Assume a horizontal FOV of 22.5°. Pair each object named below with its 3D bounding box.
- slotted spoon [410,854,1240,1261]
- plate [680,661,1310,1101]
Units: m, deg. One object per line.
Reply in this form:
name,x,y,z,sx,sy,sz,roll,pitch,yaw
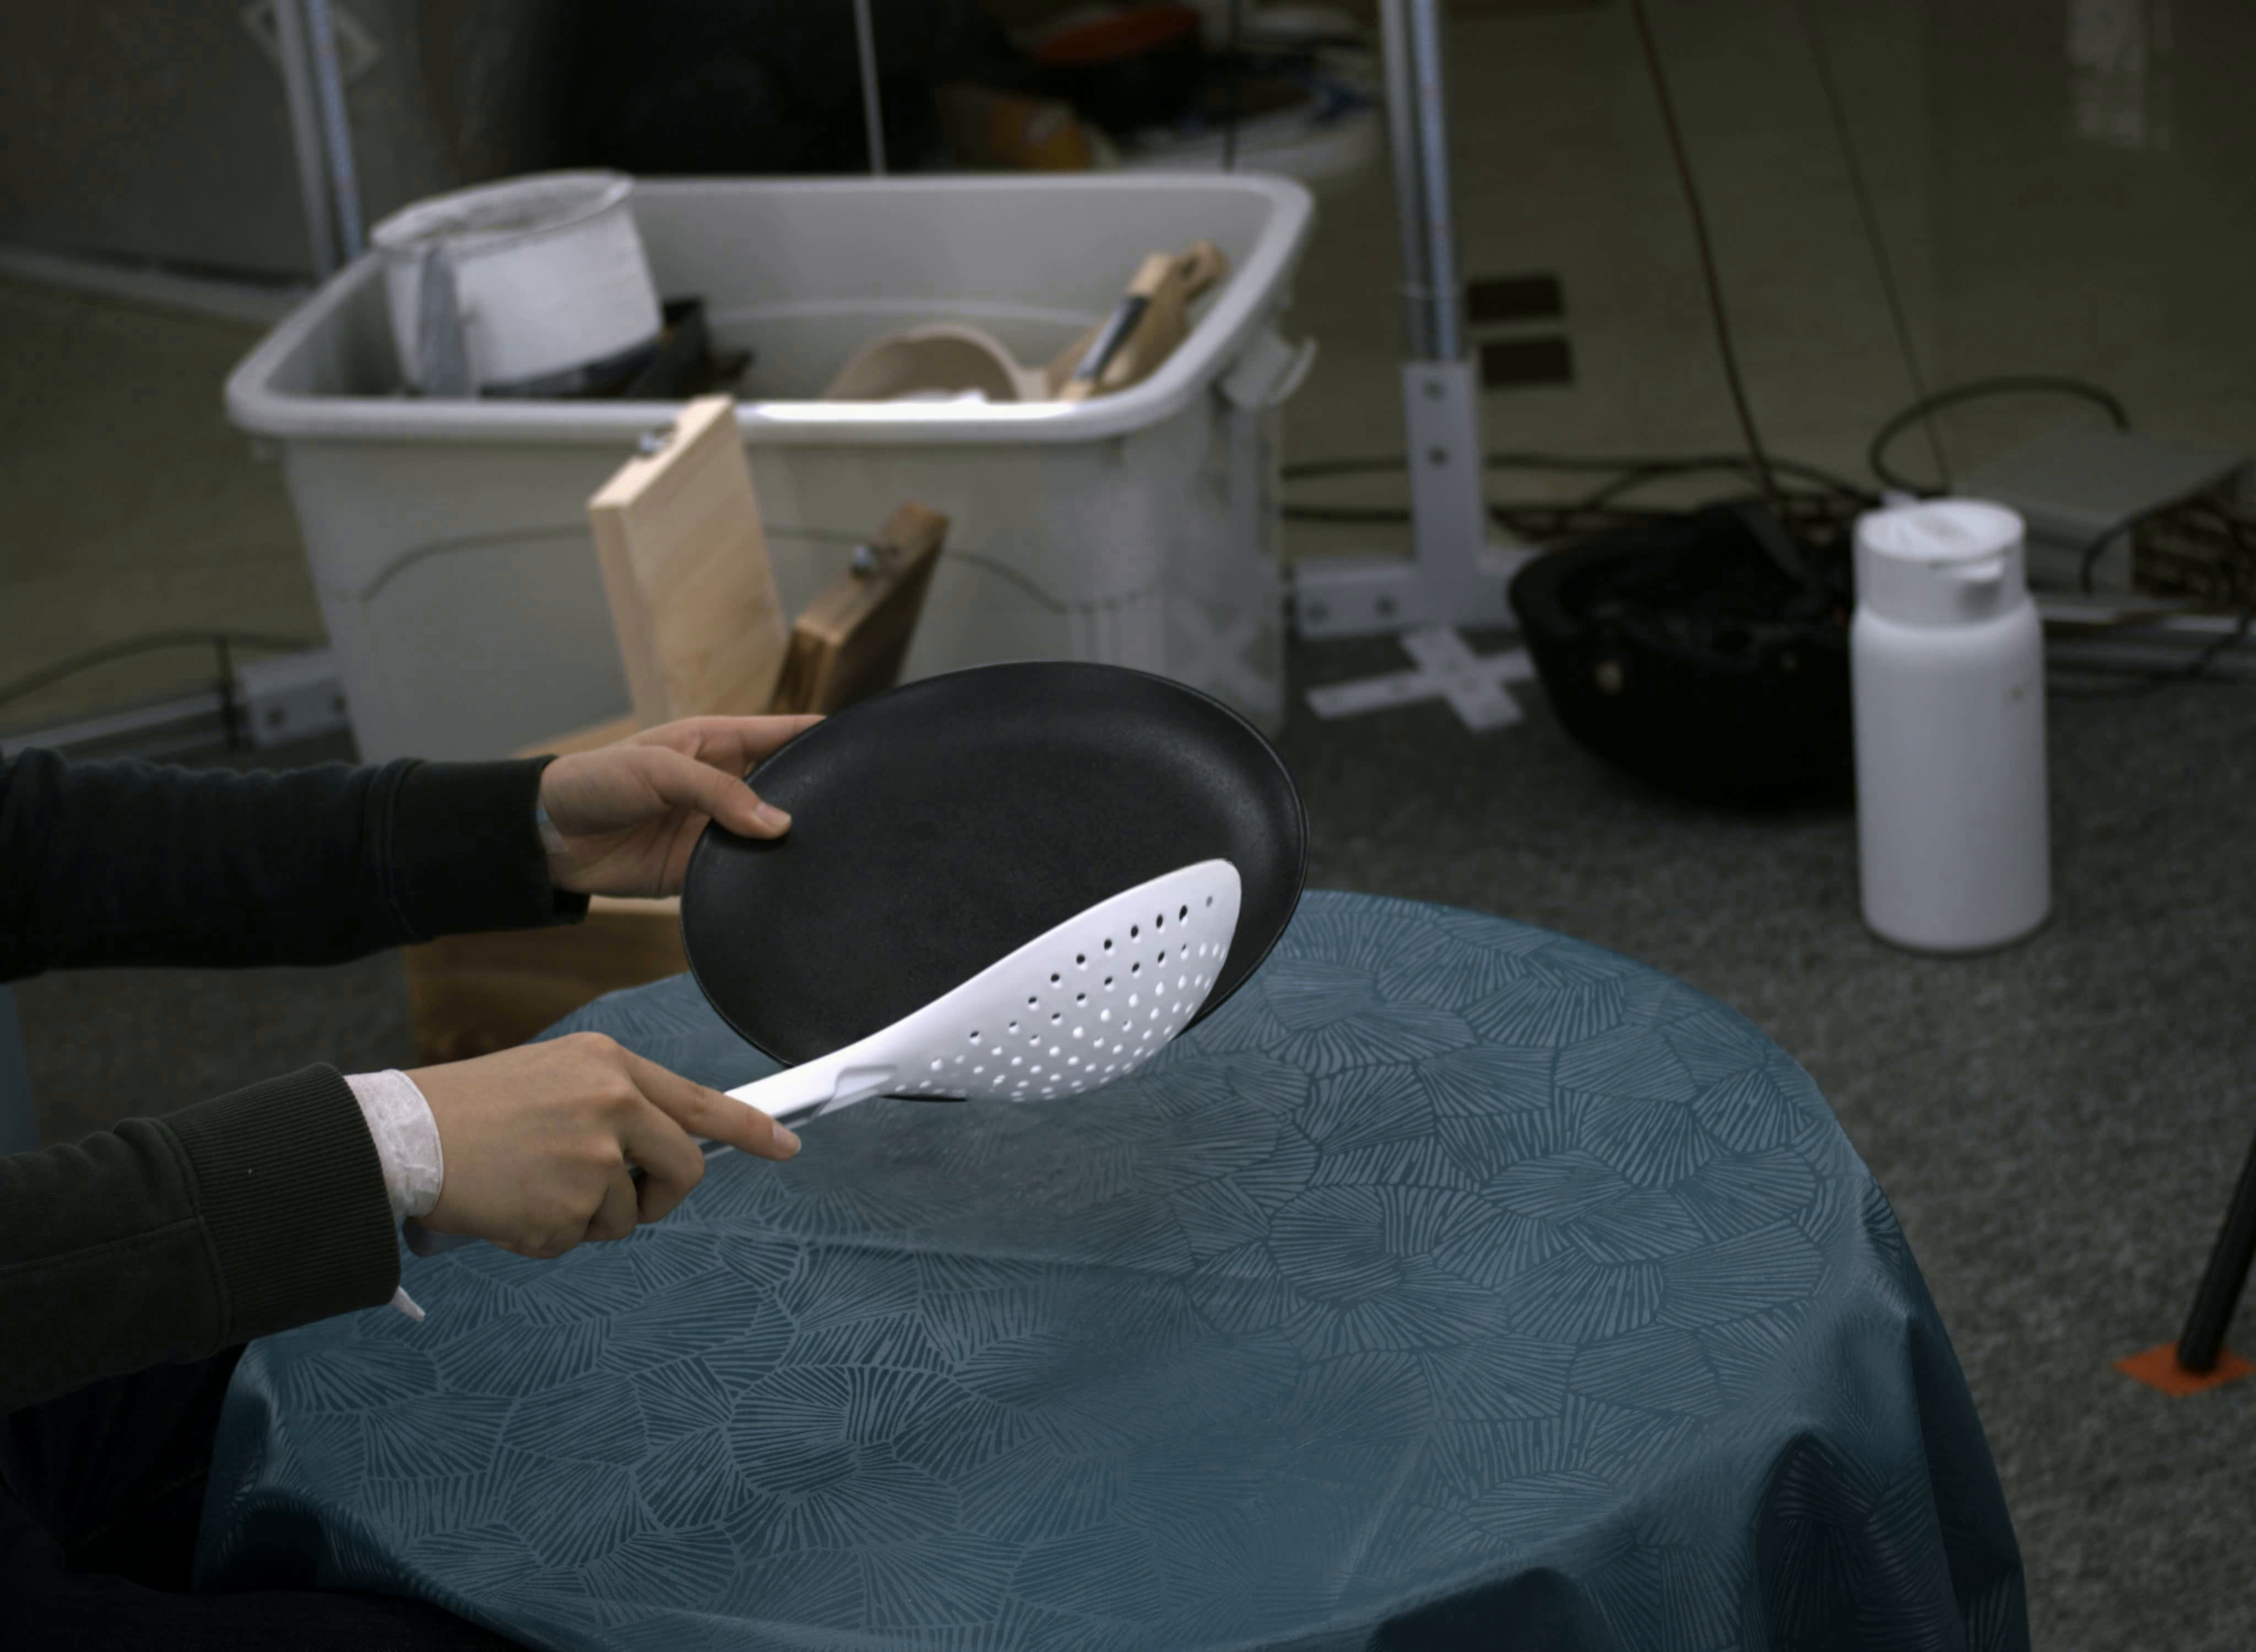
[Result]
slotted spoon,-0.098,0.085,1.962,0.348,0.138,0.045,-15,67,-34
plate,-0.050,0.024,2.163,0.244,0.024,0.240,-6,43,5
